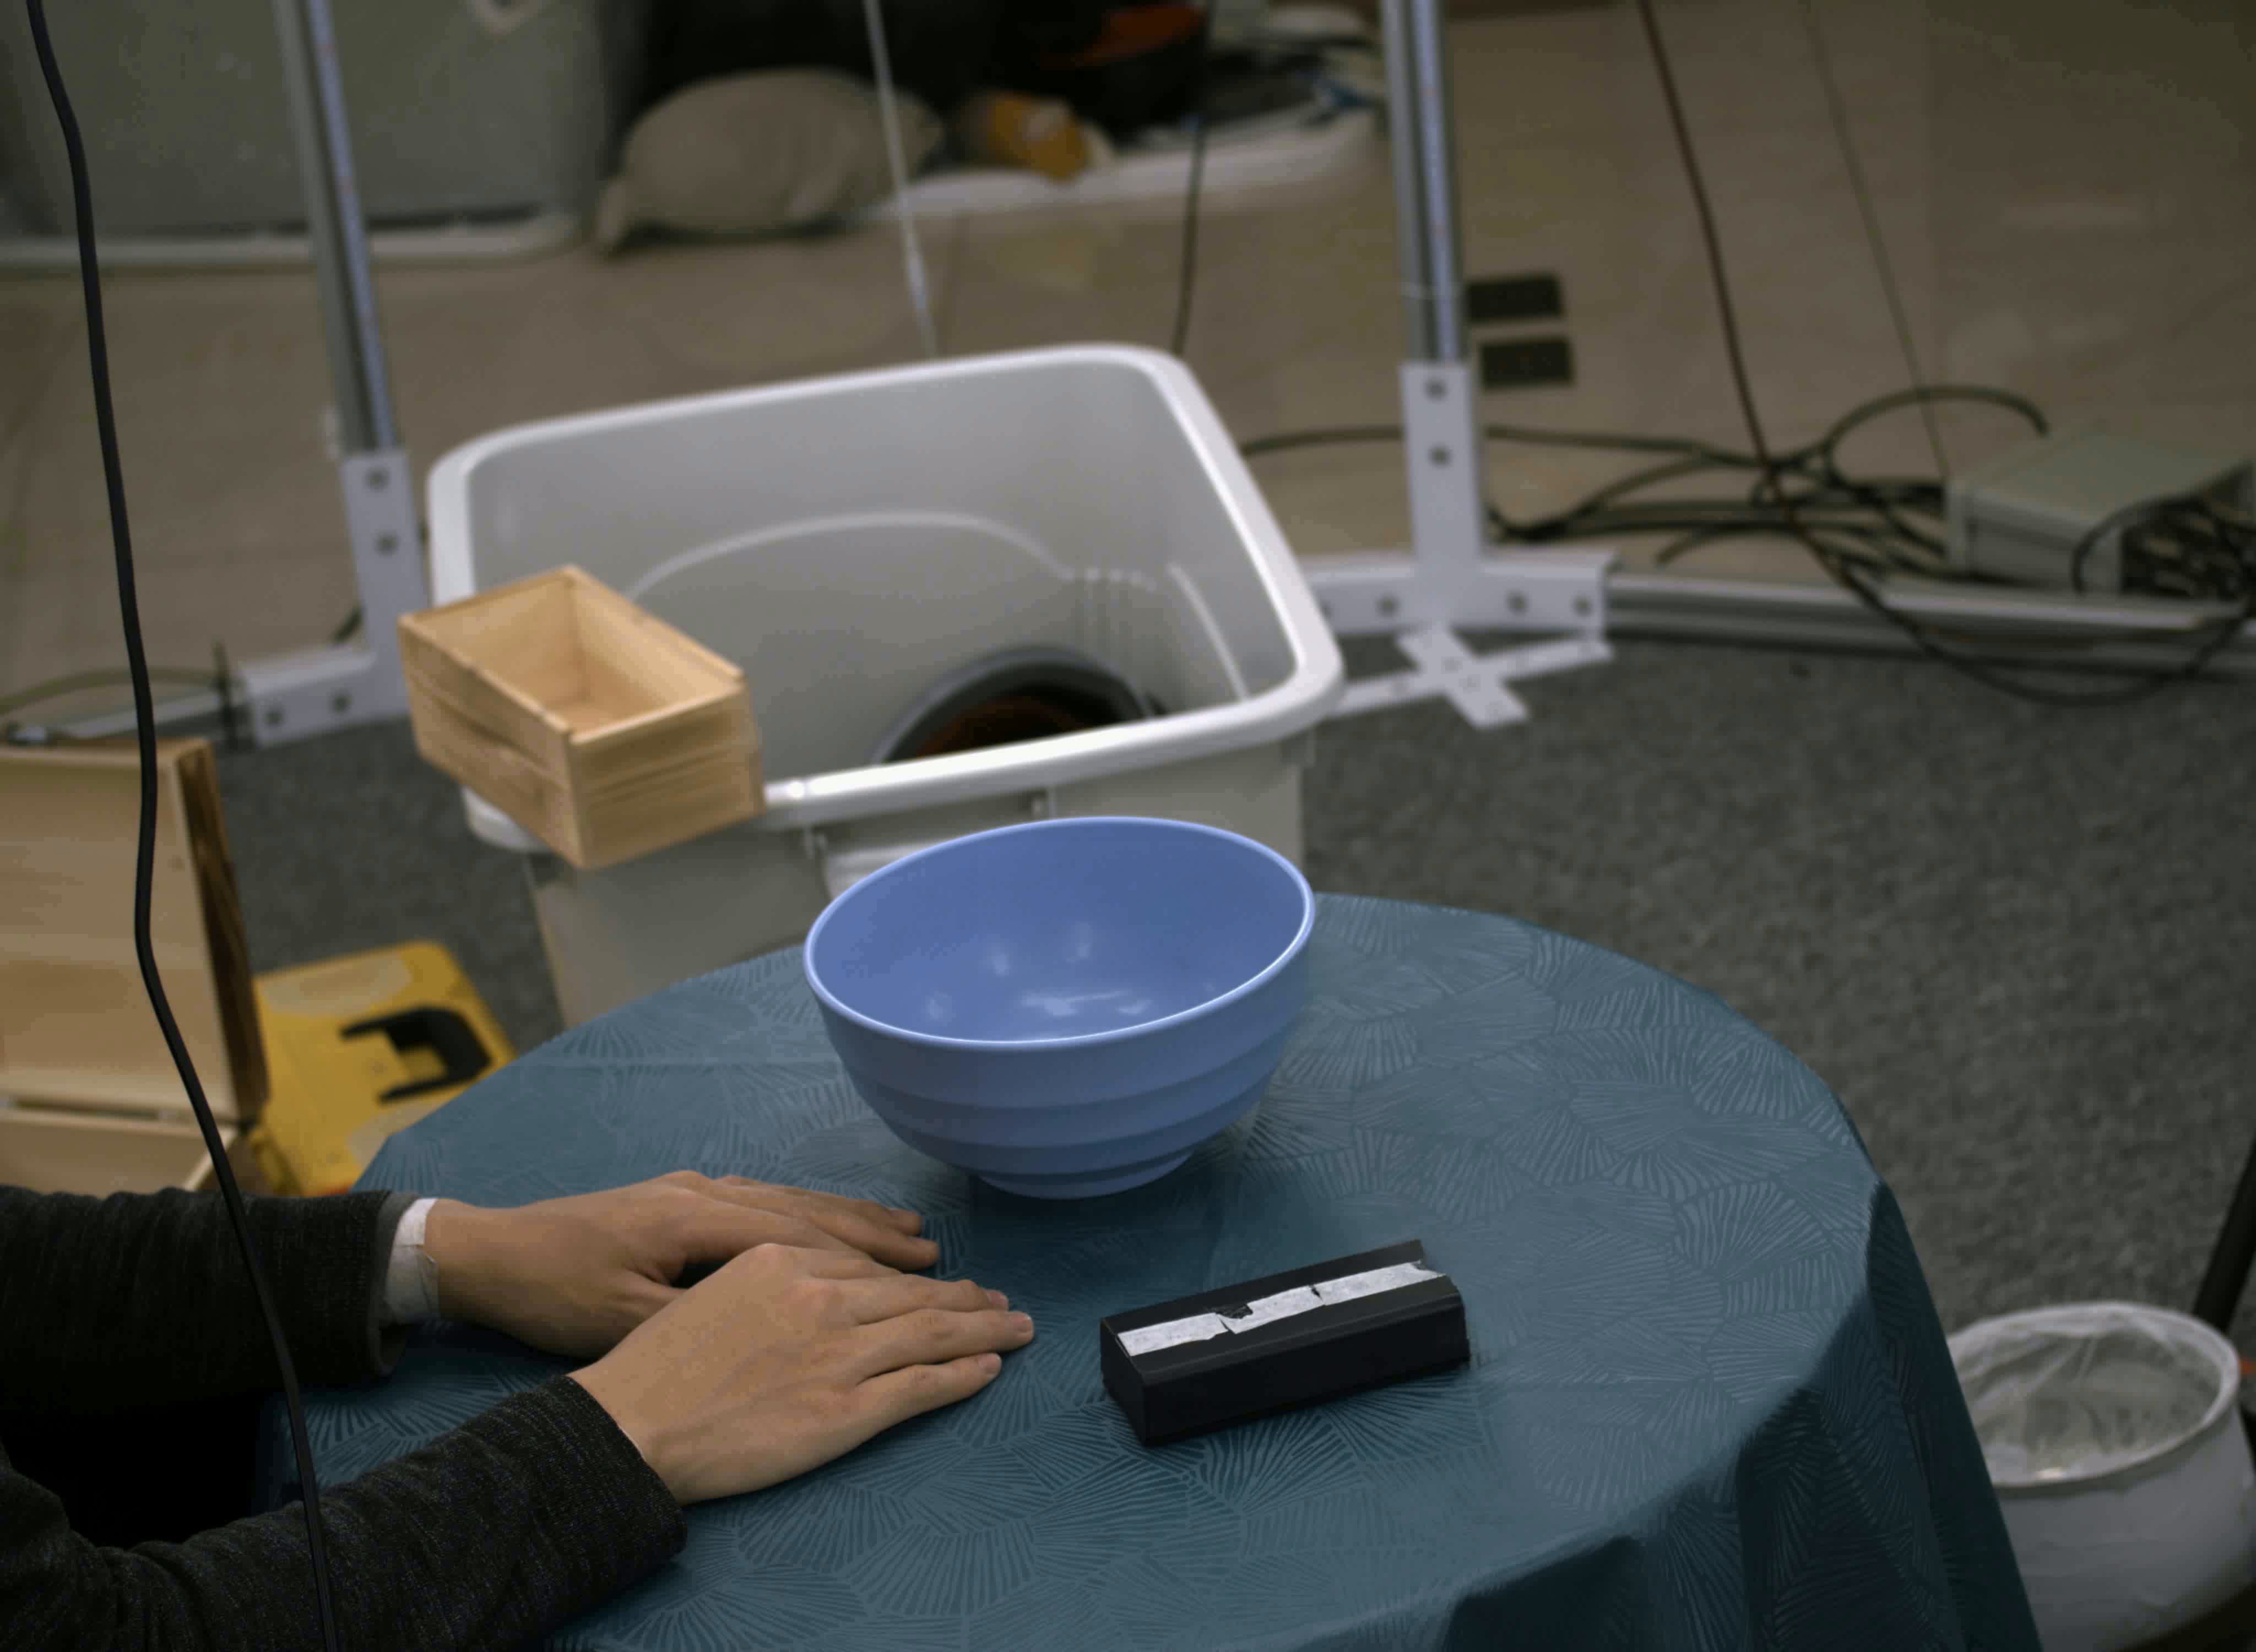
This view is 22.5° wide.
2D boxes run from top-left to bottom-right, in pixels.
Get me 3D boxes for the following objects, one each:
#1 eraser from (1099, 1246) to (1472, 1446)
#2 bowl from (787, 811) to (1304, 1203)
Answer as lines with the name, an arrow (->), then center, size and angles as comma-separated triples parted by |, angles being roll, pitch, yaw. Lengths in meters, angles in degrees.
eraser -> 0.056, 0.182, 2.006 | 0.125, 0.031, 0.053 | -14, 23, -15
bowl -> -0.030, 0.080, 2.168 | 0.196, 0.097, 0.193 | -1, 29, 1
